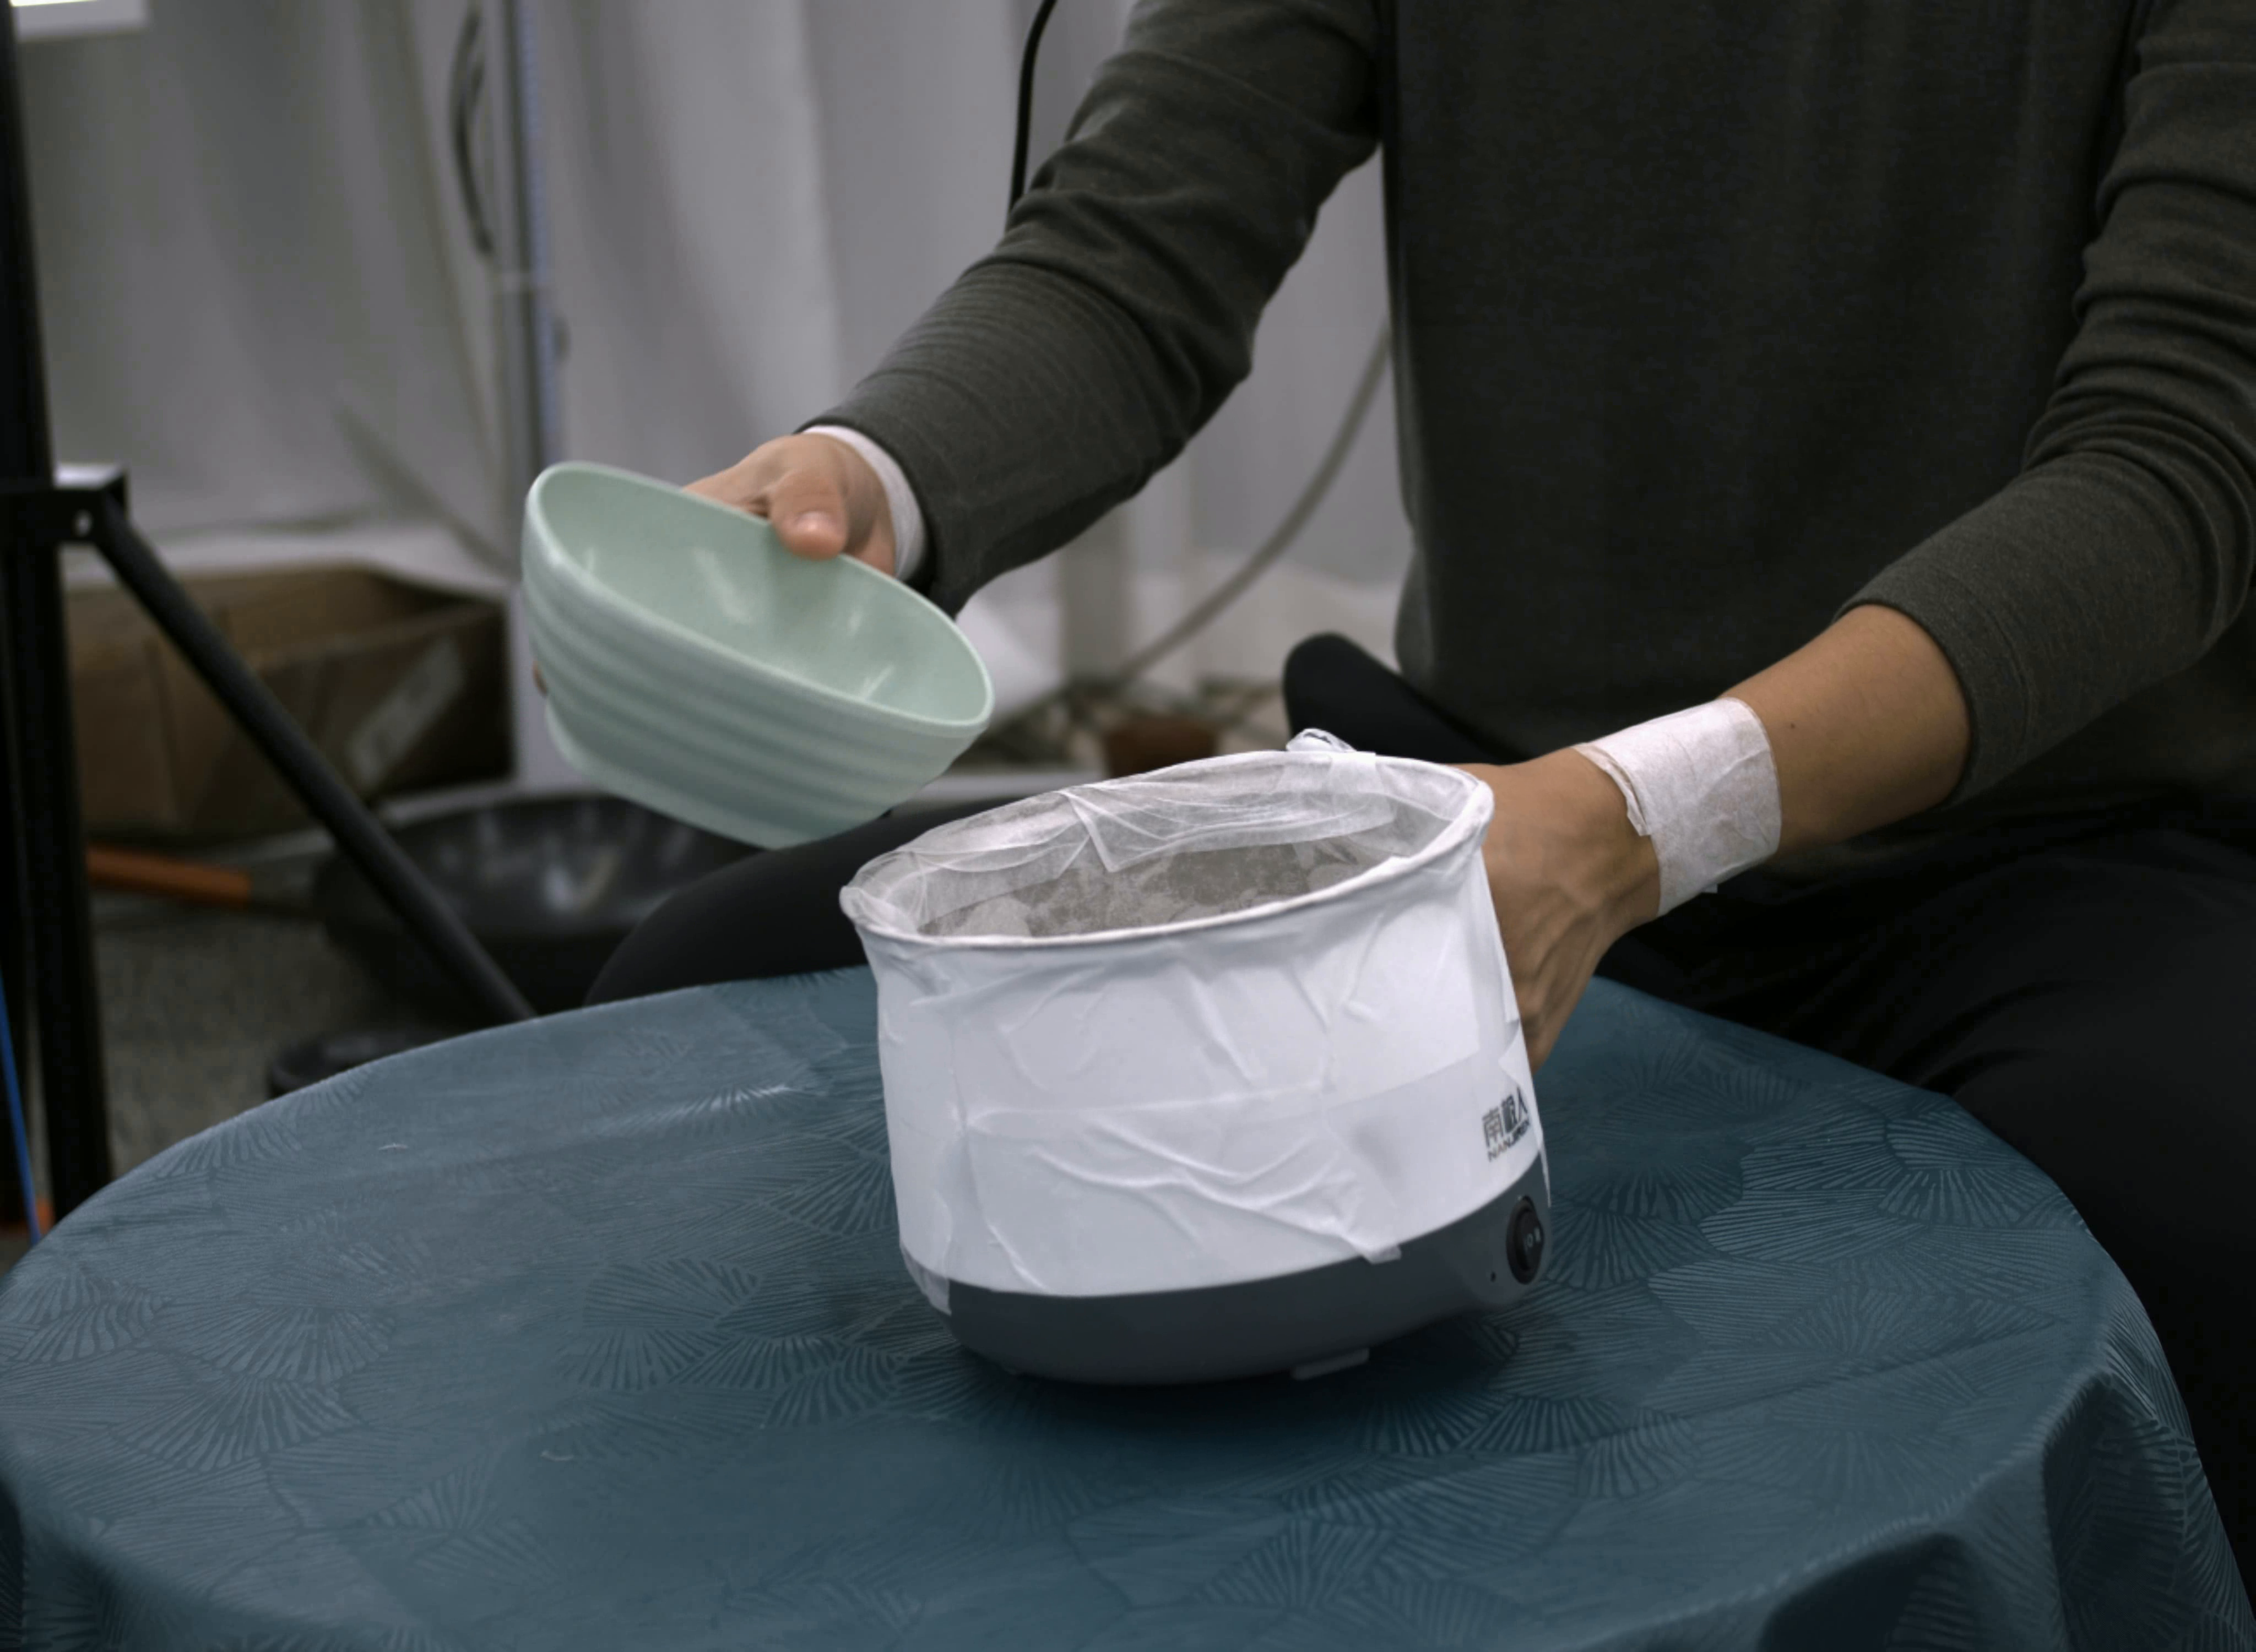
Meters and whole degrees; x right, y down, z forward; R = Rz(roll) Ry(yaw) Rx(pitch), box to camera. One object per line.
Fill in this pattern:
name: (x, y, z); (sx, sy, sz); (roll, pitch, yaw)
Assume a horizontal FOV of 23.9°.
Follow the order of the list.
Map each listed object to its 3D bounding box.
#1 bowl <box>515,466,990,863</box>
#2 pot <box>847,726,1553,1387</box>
bowl: (-0.113, -0.039, 1.477); (0.150, 0.059, 0.152); (21, 19, -9)
pot: (0.032, 0.058, 1.455); (0.181, 0.136, 0.230); (-3, 15, 27)
